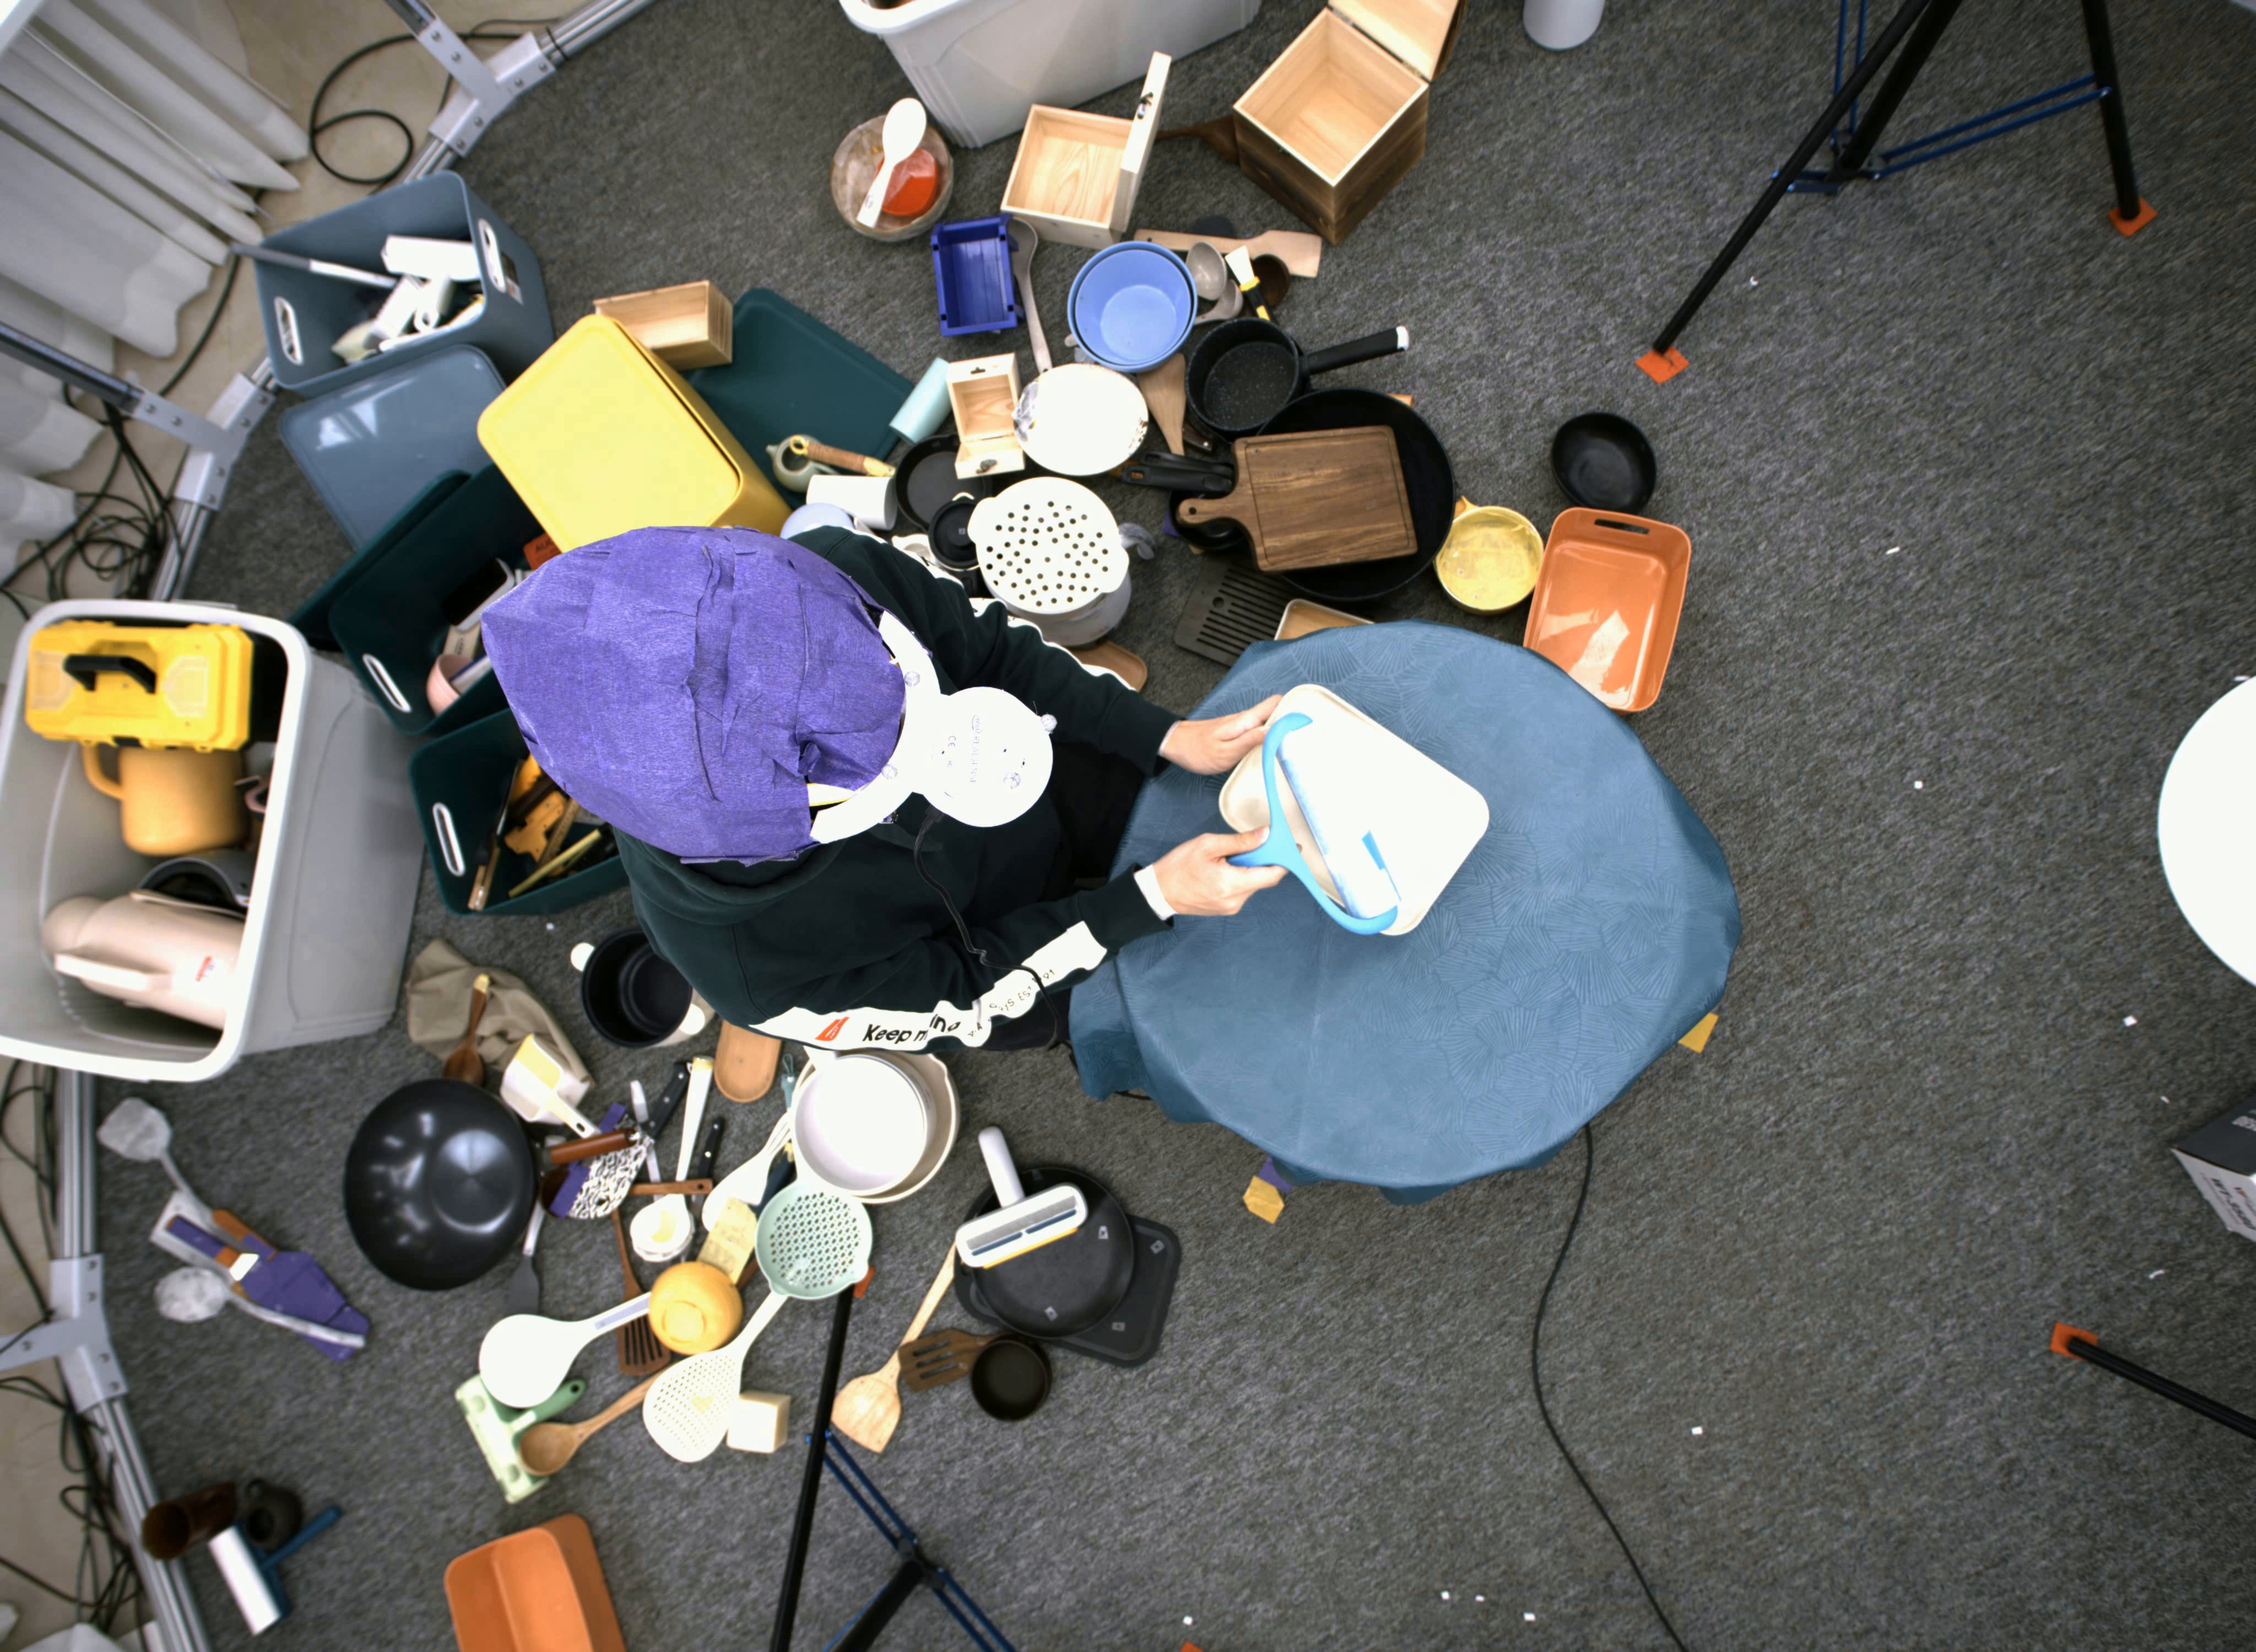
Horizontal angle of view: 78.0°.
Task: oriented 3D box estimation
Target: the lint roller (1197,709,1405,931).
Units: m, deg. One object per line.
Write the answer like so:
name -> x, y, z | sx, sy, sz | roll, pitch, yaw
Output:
lint roller -> 0.150, 0.020, 1.339 | 0.181, 0.067, 0.229 | -28, 93, 8

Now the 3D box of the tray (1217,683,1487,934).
tray -> 0.221, -0.019, 1.373 | 0.239, 0.017, 0.173 | 36, 104, 9
